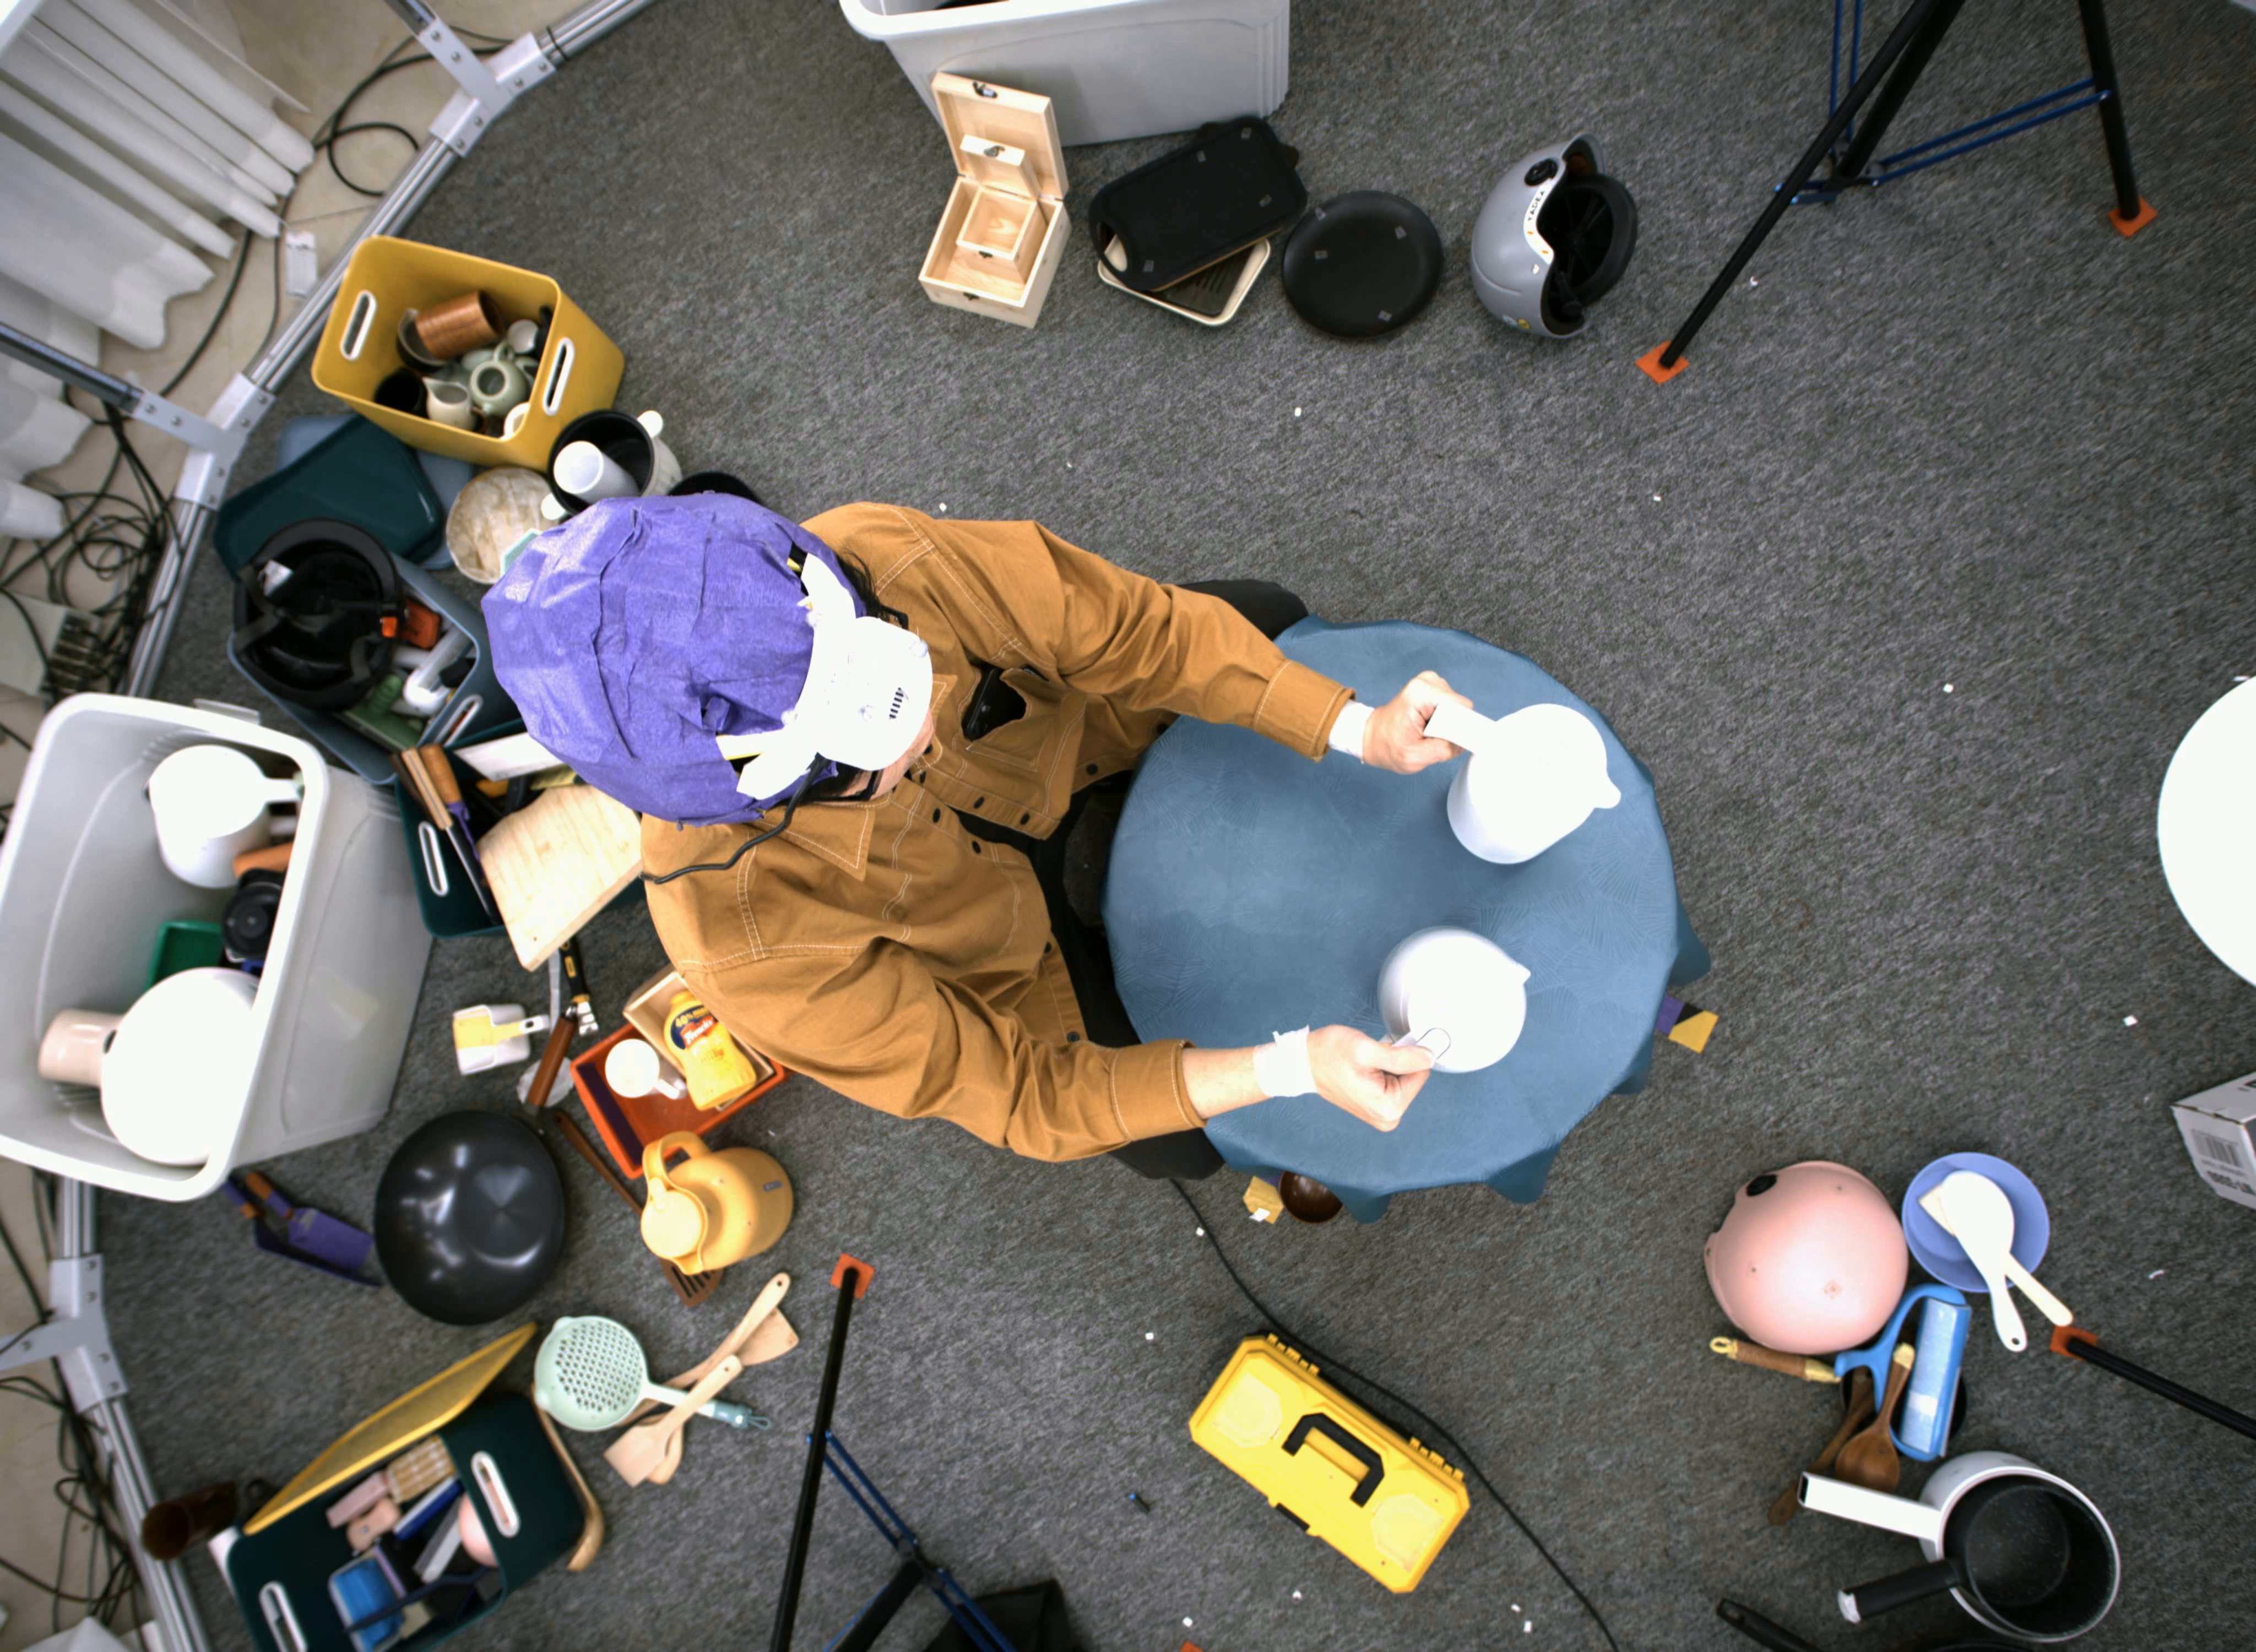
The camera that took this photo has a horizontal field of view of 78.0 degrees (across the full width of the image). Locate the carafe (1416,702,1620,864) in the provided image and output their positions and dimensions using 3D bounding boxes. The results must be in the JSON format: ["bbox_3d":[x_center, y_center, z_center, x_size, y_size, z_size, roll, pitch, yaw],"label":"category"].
[{"bbox_3d":[0.350,-0.044,1.273,0.172,0.269,0.124,27,90,10],"label":"carafe"}]

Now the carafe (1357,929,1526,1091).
[{"bbox_3d":[0.275,0.171,1.232,0.169,0.248,0.132,-41,82,7],"label":"carafe"}]
